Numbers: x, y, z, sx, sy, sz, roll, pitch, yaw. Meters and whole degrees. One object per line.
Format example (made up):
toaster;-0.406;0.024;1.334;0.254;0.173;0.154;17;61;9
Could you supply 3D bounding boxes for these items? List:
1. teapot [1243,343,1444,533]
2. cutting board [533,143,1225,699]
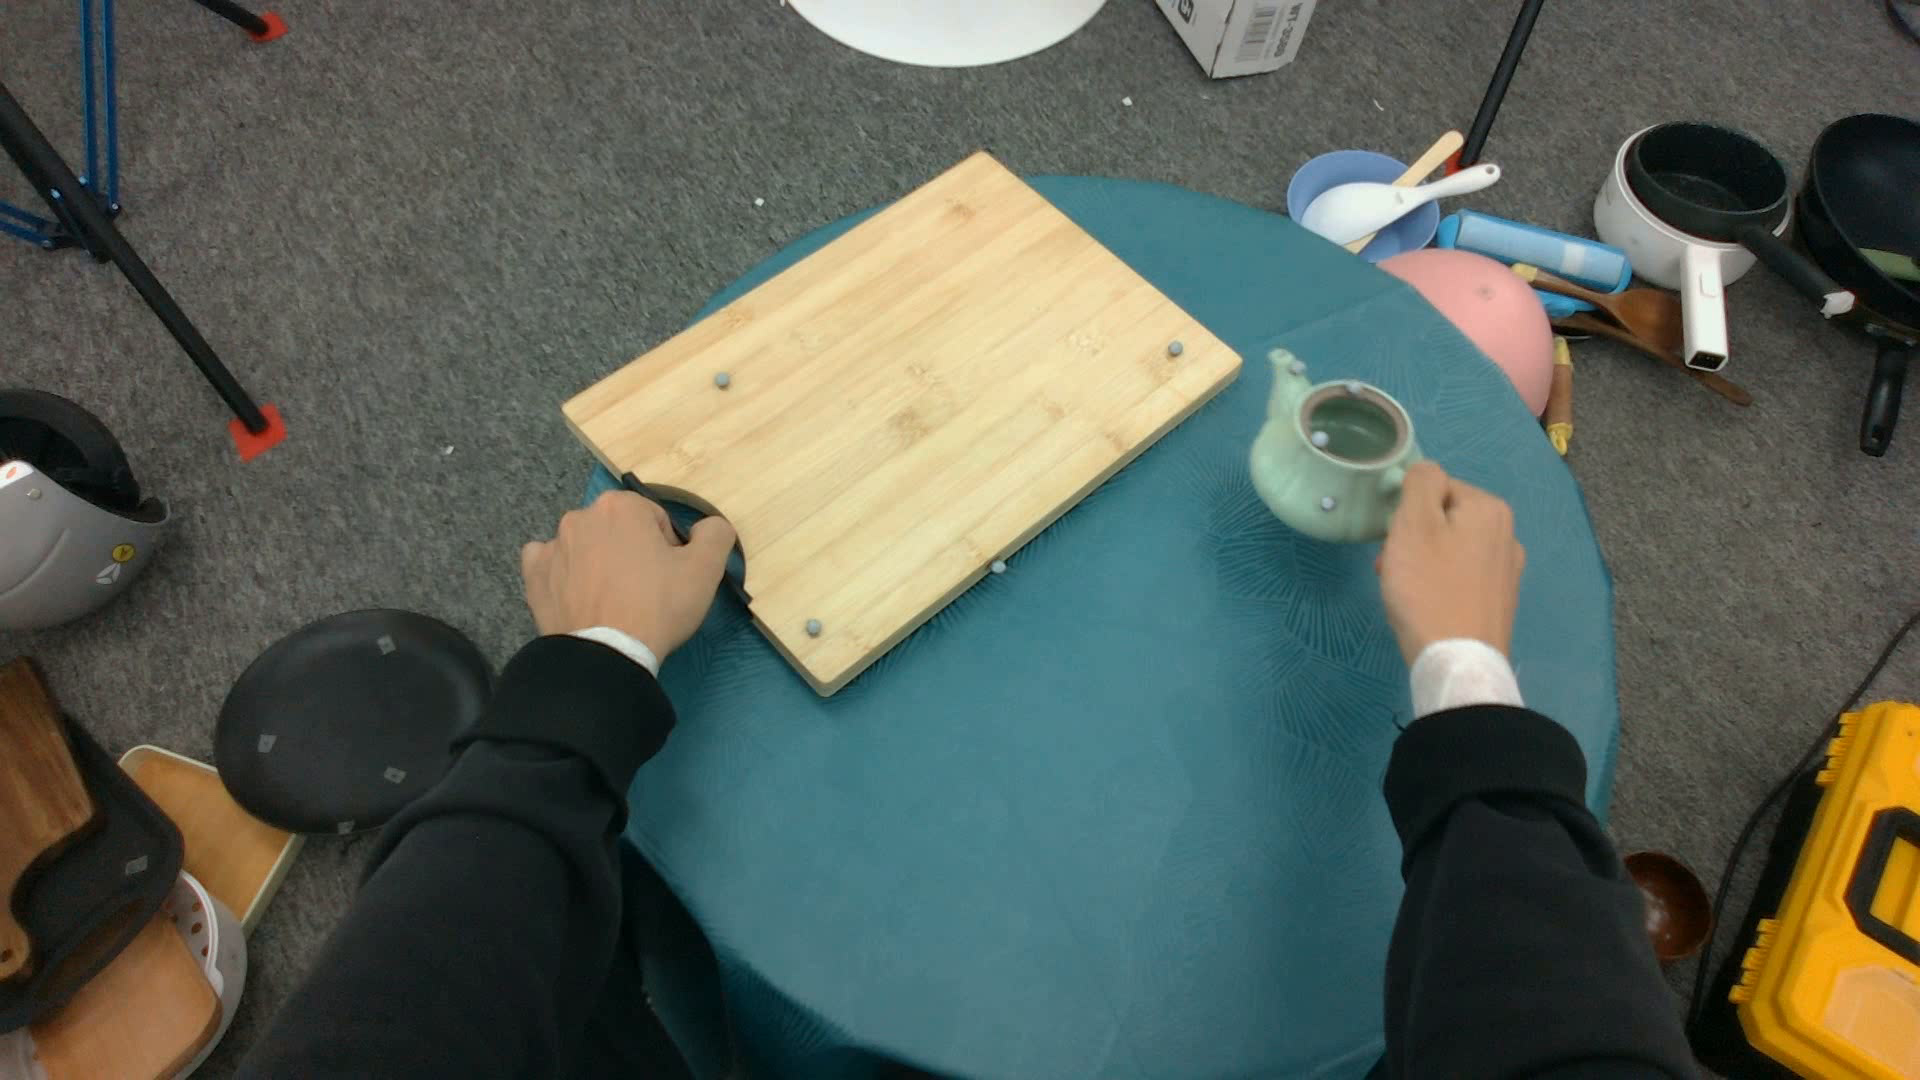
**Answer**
teapot;0.210;-0.048;0.758;0.096;0.061;0.137;-25;56;-22
cutting board;-0.040;-0.092;0.832;0.350;0.023;0.251;-39;68;-24
